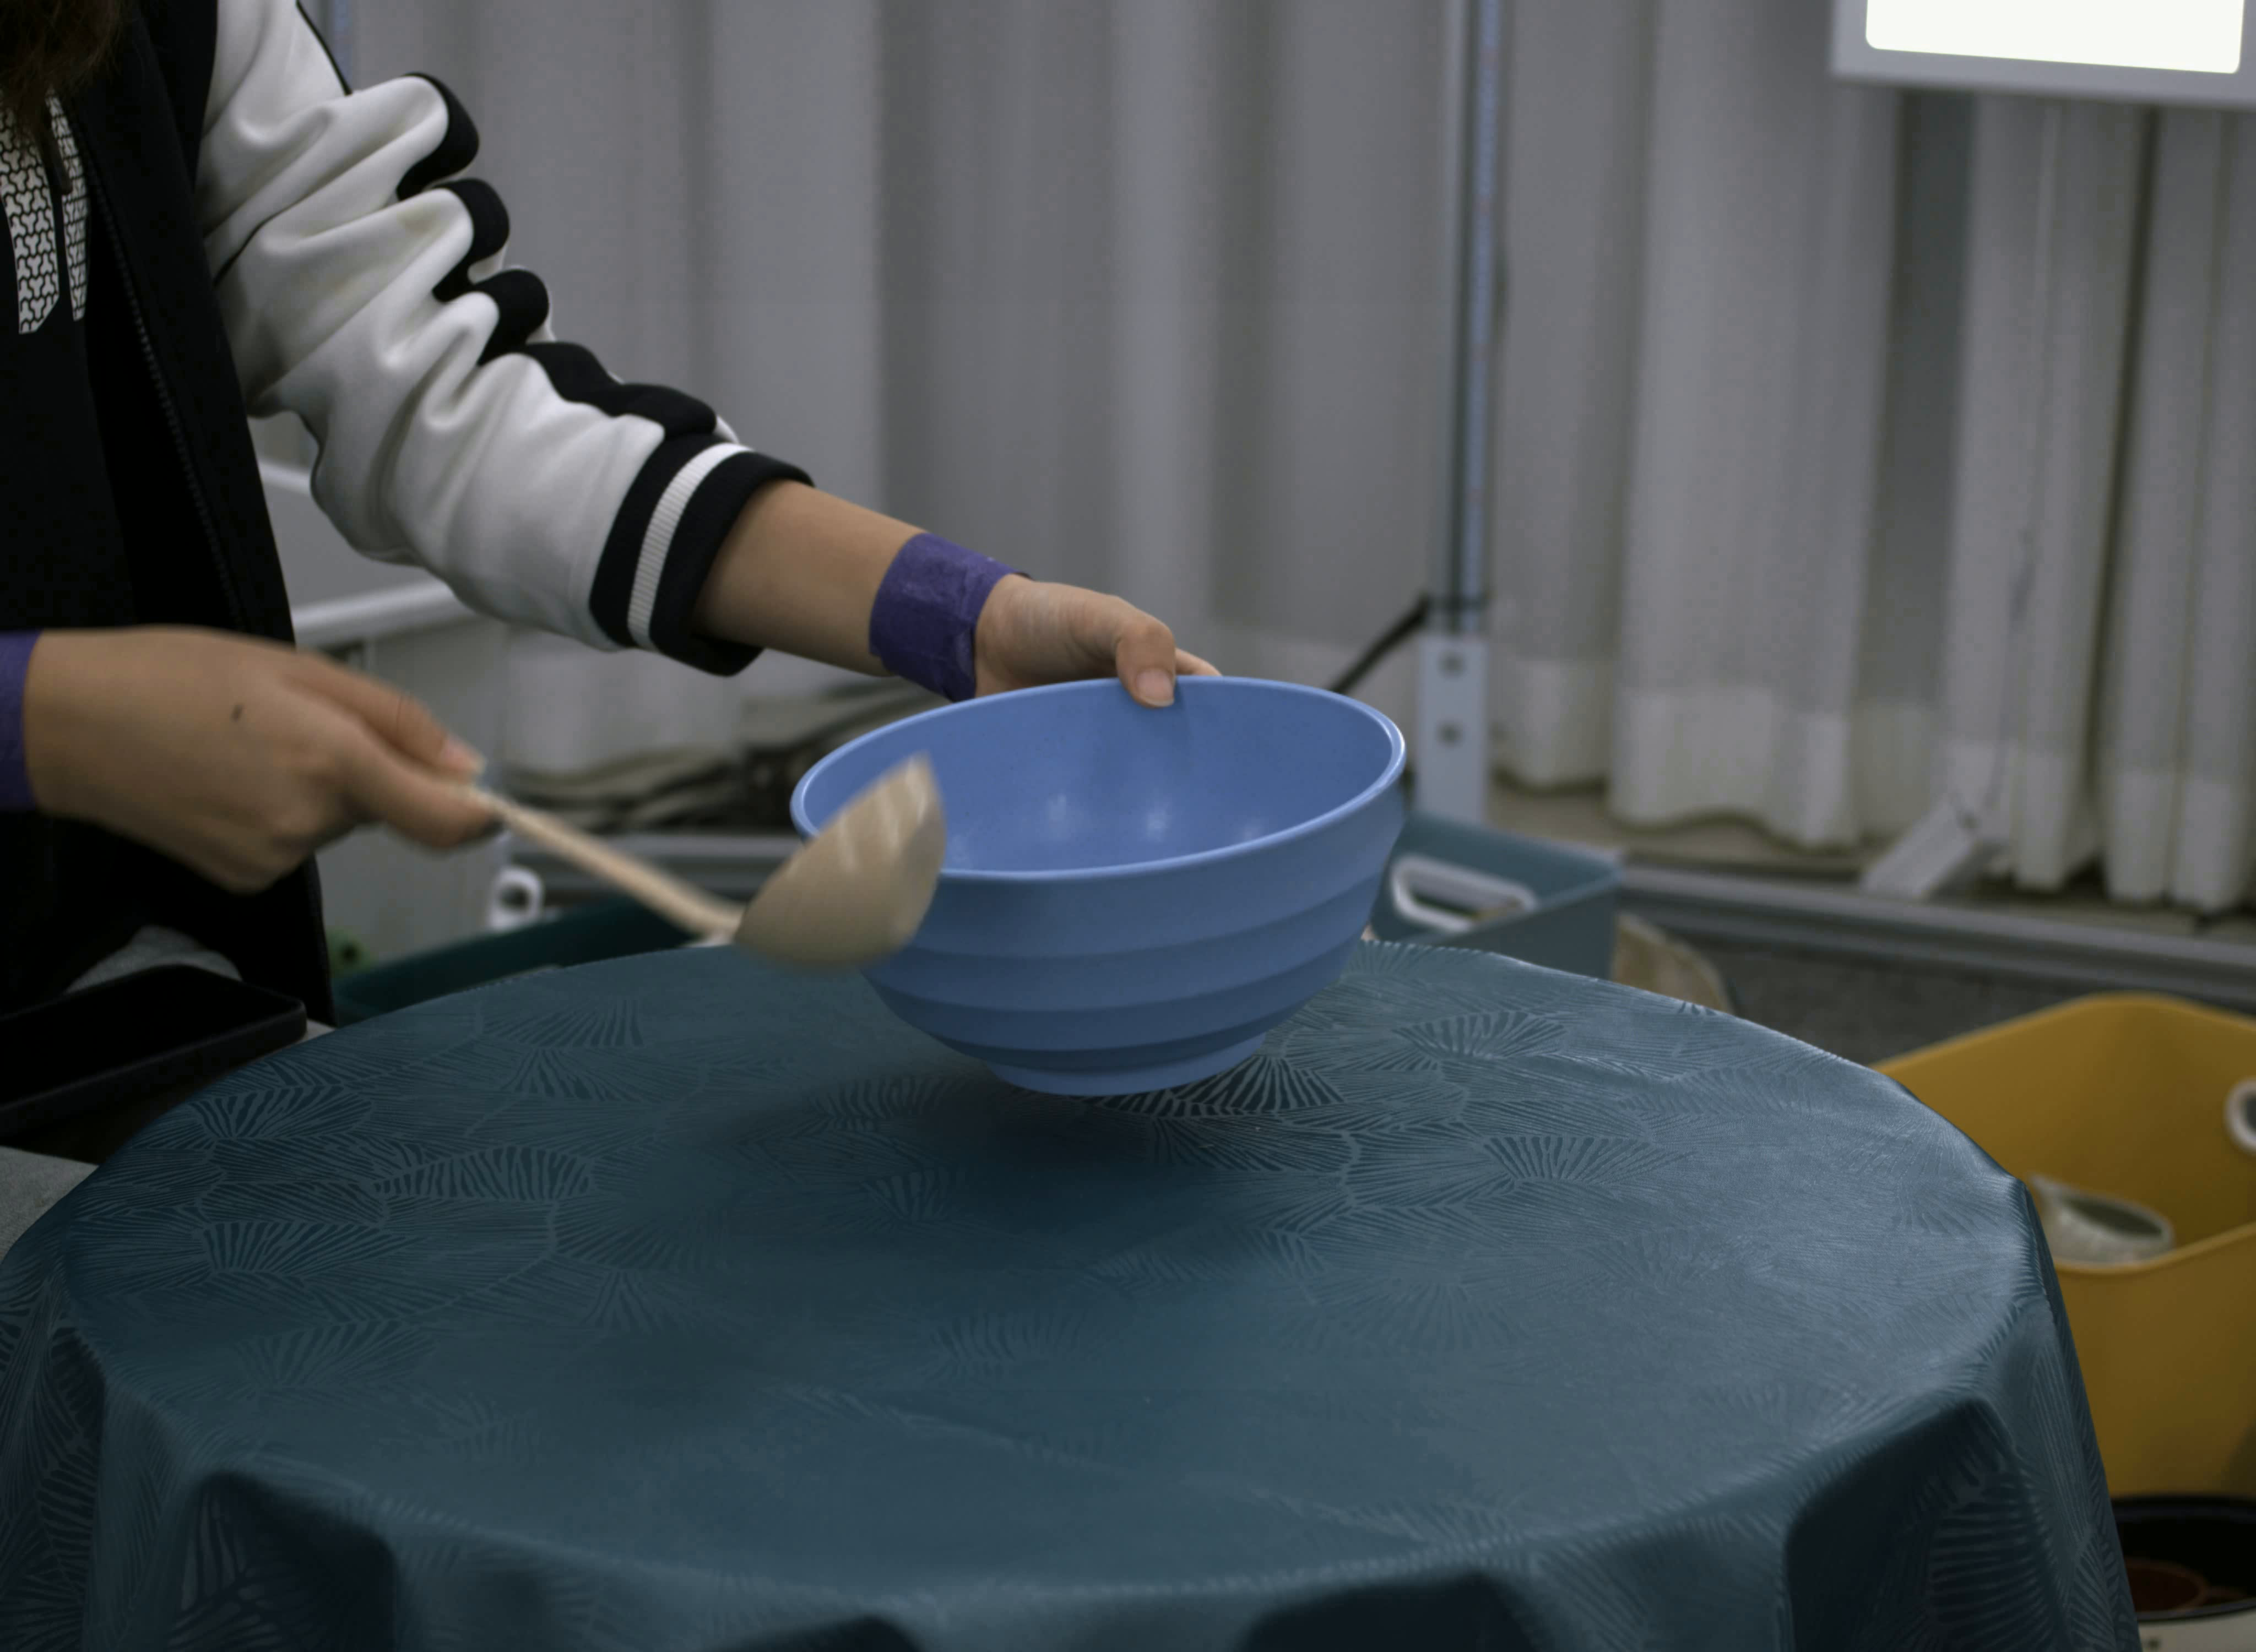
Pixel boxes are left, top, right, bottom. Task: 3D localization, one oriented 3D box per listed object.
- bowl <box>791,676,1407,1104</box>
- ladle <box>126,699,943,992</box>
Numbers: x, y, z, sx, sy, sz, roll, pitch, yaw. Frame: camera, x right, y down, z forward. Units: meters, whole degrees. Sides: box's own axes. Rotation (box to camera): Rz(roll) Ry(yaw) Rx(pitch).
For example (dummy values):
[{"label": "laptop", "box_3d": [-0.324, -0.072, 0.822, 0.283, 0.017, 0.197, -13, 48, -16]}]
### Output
[{"label": "bowl", "box_3d": [-0.005, 0.028, 1.680, 0.196, 0.096, 0.195, -4, 20, 2]}, {"label": "ladle", "box_3d": [-0.175, -0.022, 1.543, 0.252, 0.073, 0.072, 22, 14, 12]}]
